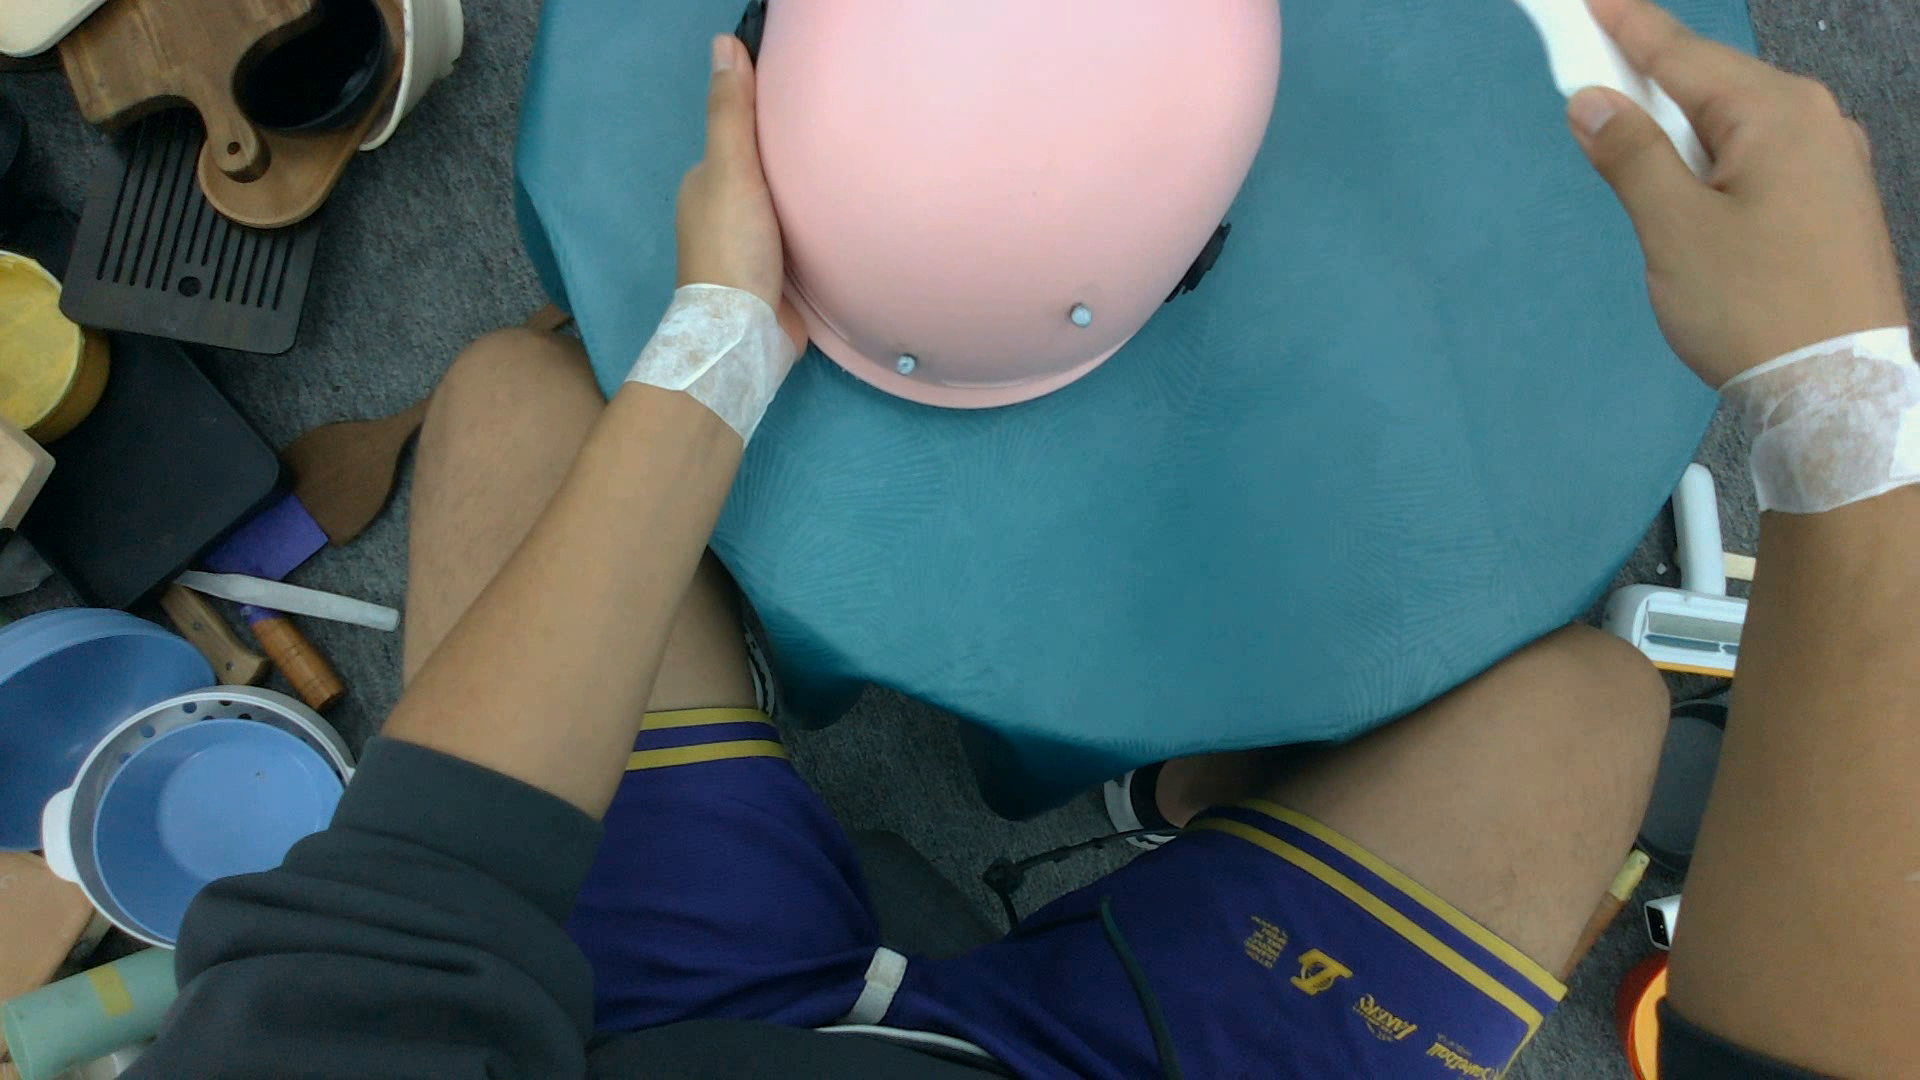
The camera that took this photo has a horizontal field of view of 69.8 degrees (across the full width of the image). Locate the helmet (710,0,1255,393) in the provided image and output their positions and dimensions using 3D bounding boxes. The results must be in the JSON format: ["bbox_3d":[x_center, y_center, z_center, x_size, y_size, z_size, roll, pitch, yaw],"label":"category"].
[{"bbox_3d":[0.017,-0.195,0.568,0.234,0.159,0.266,21,89,-10],"label":"helmet"}]

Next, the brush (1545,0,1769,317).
[{"bbox_3d":[0.196,-0.178,0.465,0.034,0.050,0.244,-18,81,-26],"label":"brush"}]
